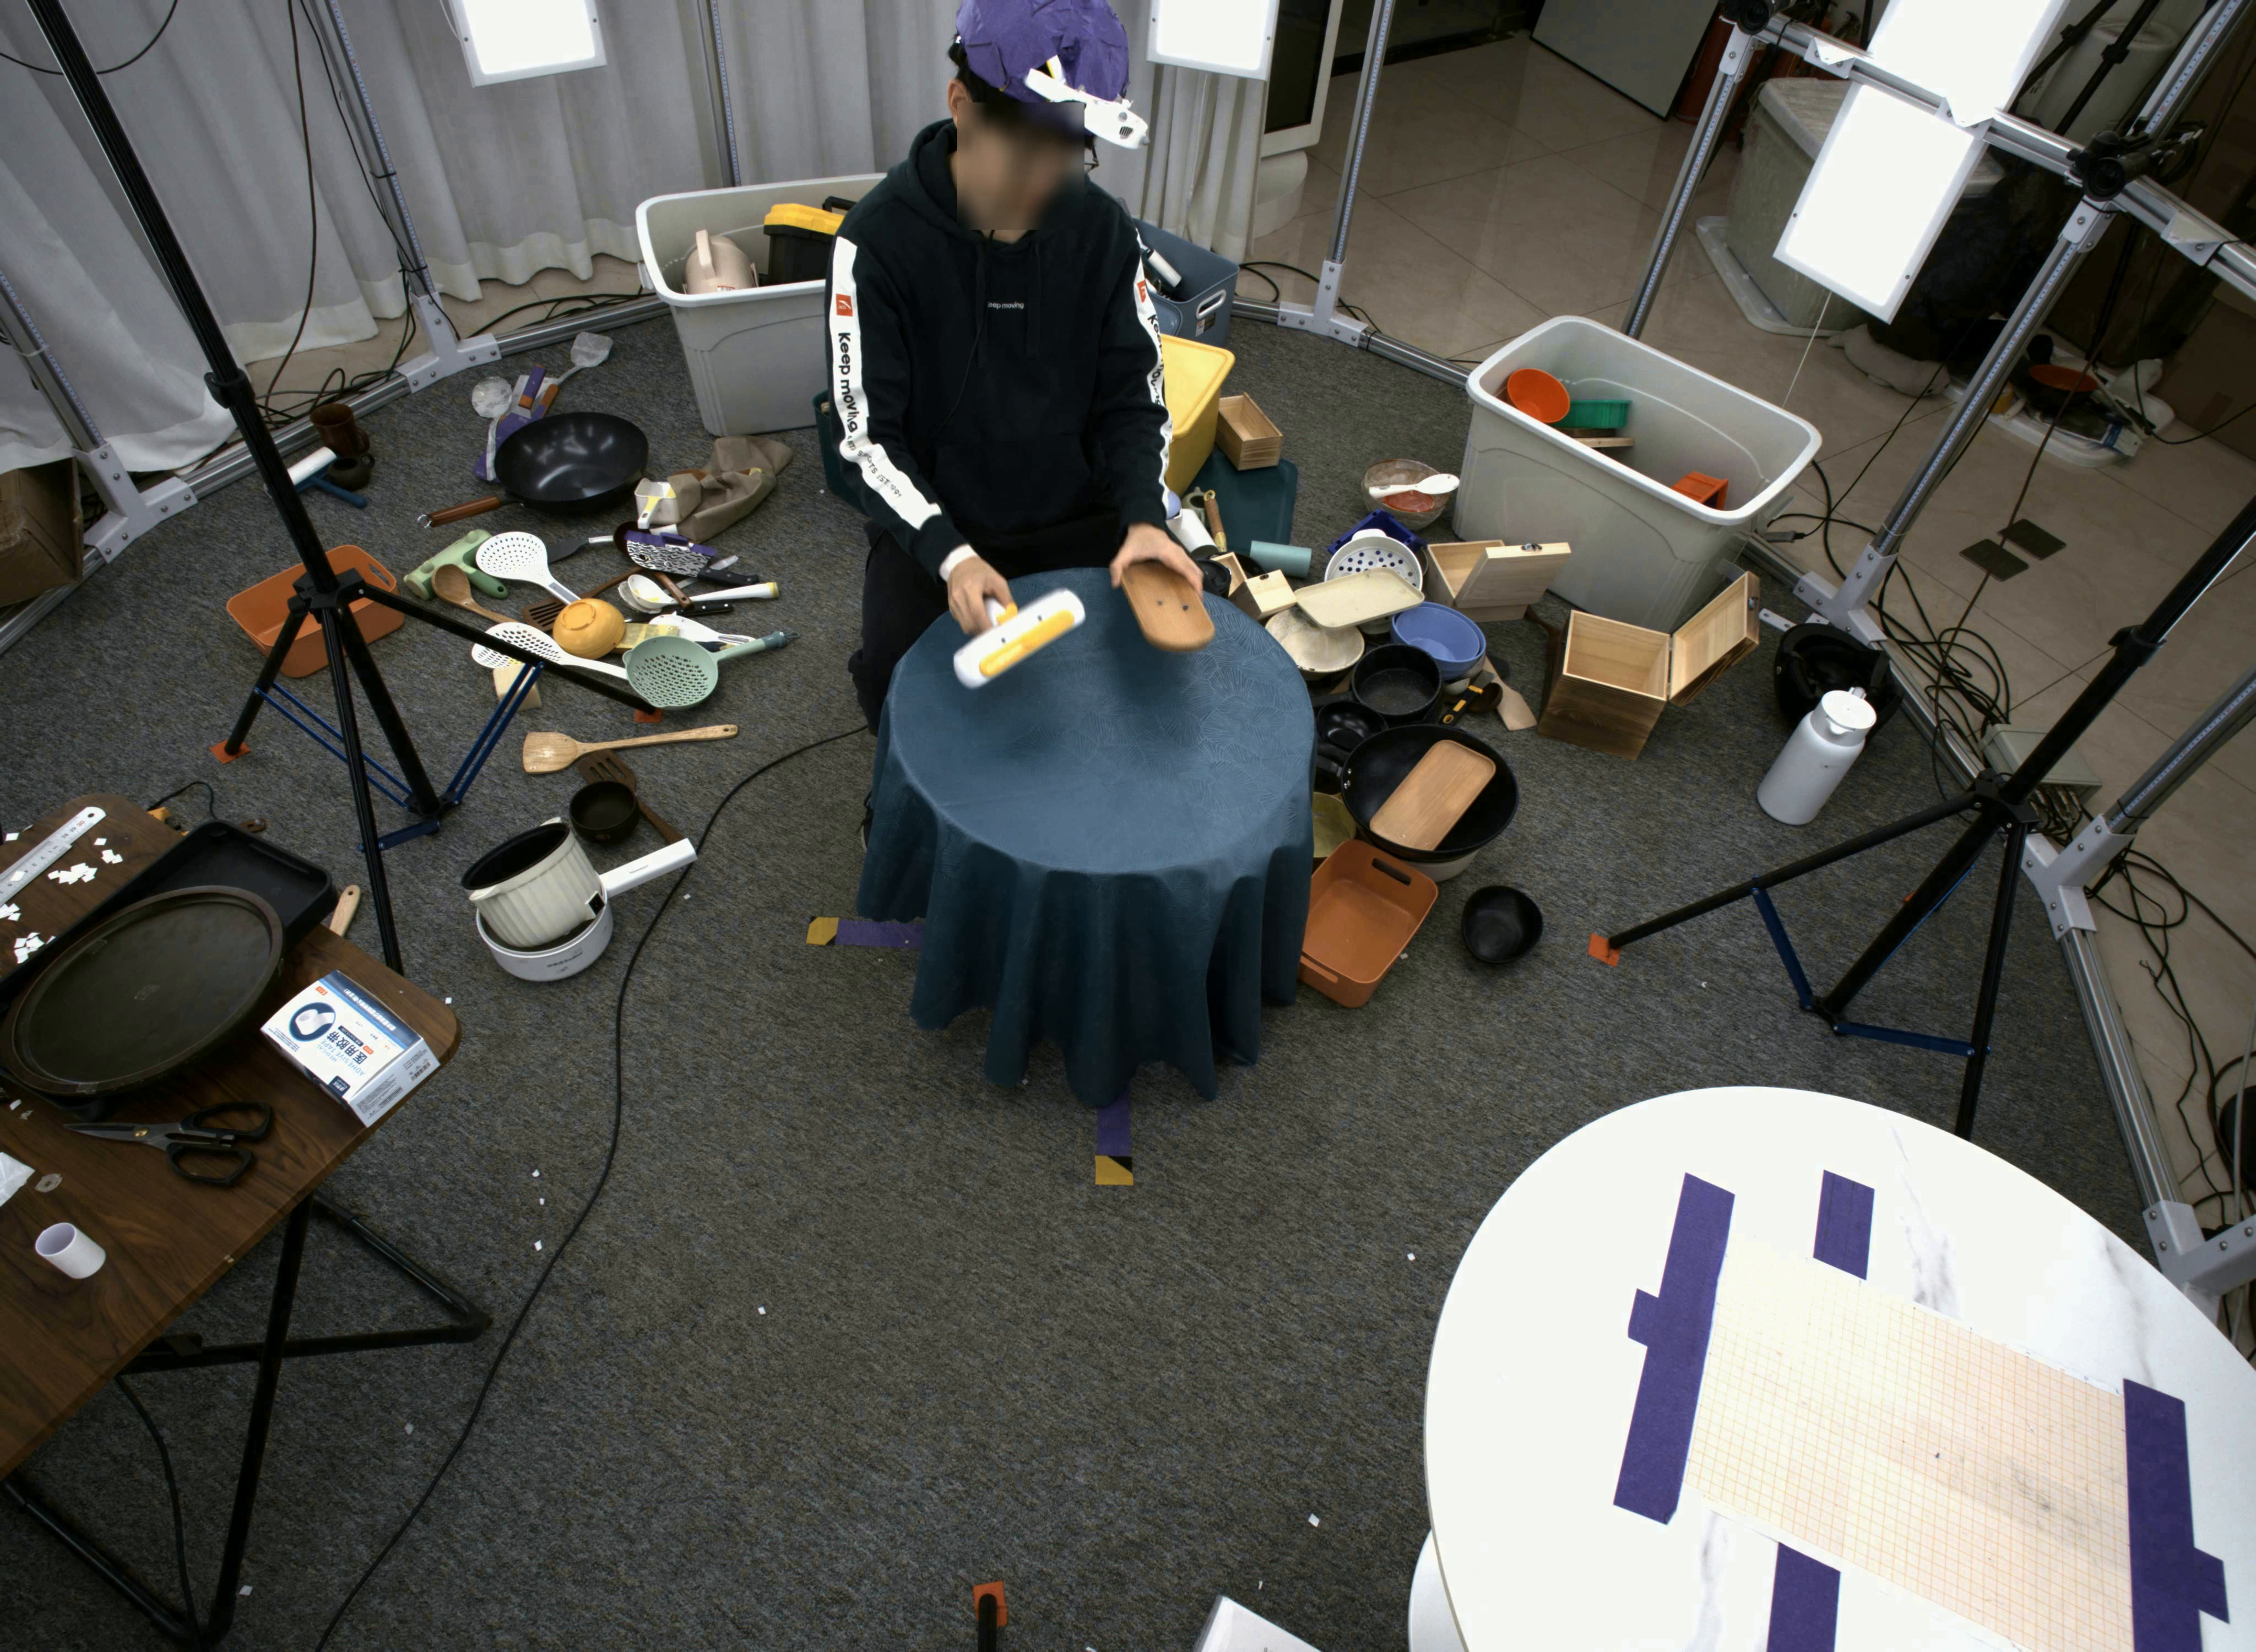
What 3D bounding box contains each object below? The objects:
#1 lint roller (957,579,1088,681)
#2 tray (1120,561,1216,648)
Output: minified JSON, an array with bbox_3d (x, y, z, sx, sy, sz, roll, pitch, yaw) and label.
[{"bbox_3d":[-0.170,-0.282,1.758,0.194,0.073,0.195,-40,31,-12],"label":"lint roller"},{"bbox_3d":[0.054,-0.315,1.812,0.101,0.020,0.237,-6,40,-12],"label":"tray"}]
